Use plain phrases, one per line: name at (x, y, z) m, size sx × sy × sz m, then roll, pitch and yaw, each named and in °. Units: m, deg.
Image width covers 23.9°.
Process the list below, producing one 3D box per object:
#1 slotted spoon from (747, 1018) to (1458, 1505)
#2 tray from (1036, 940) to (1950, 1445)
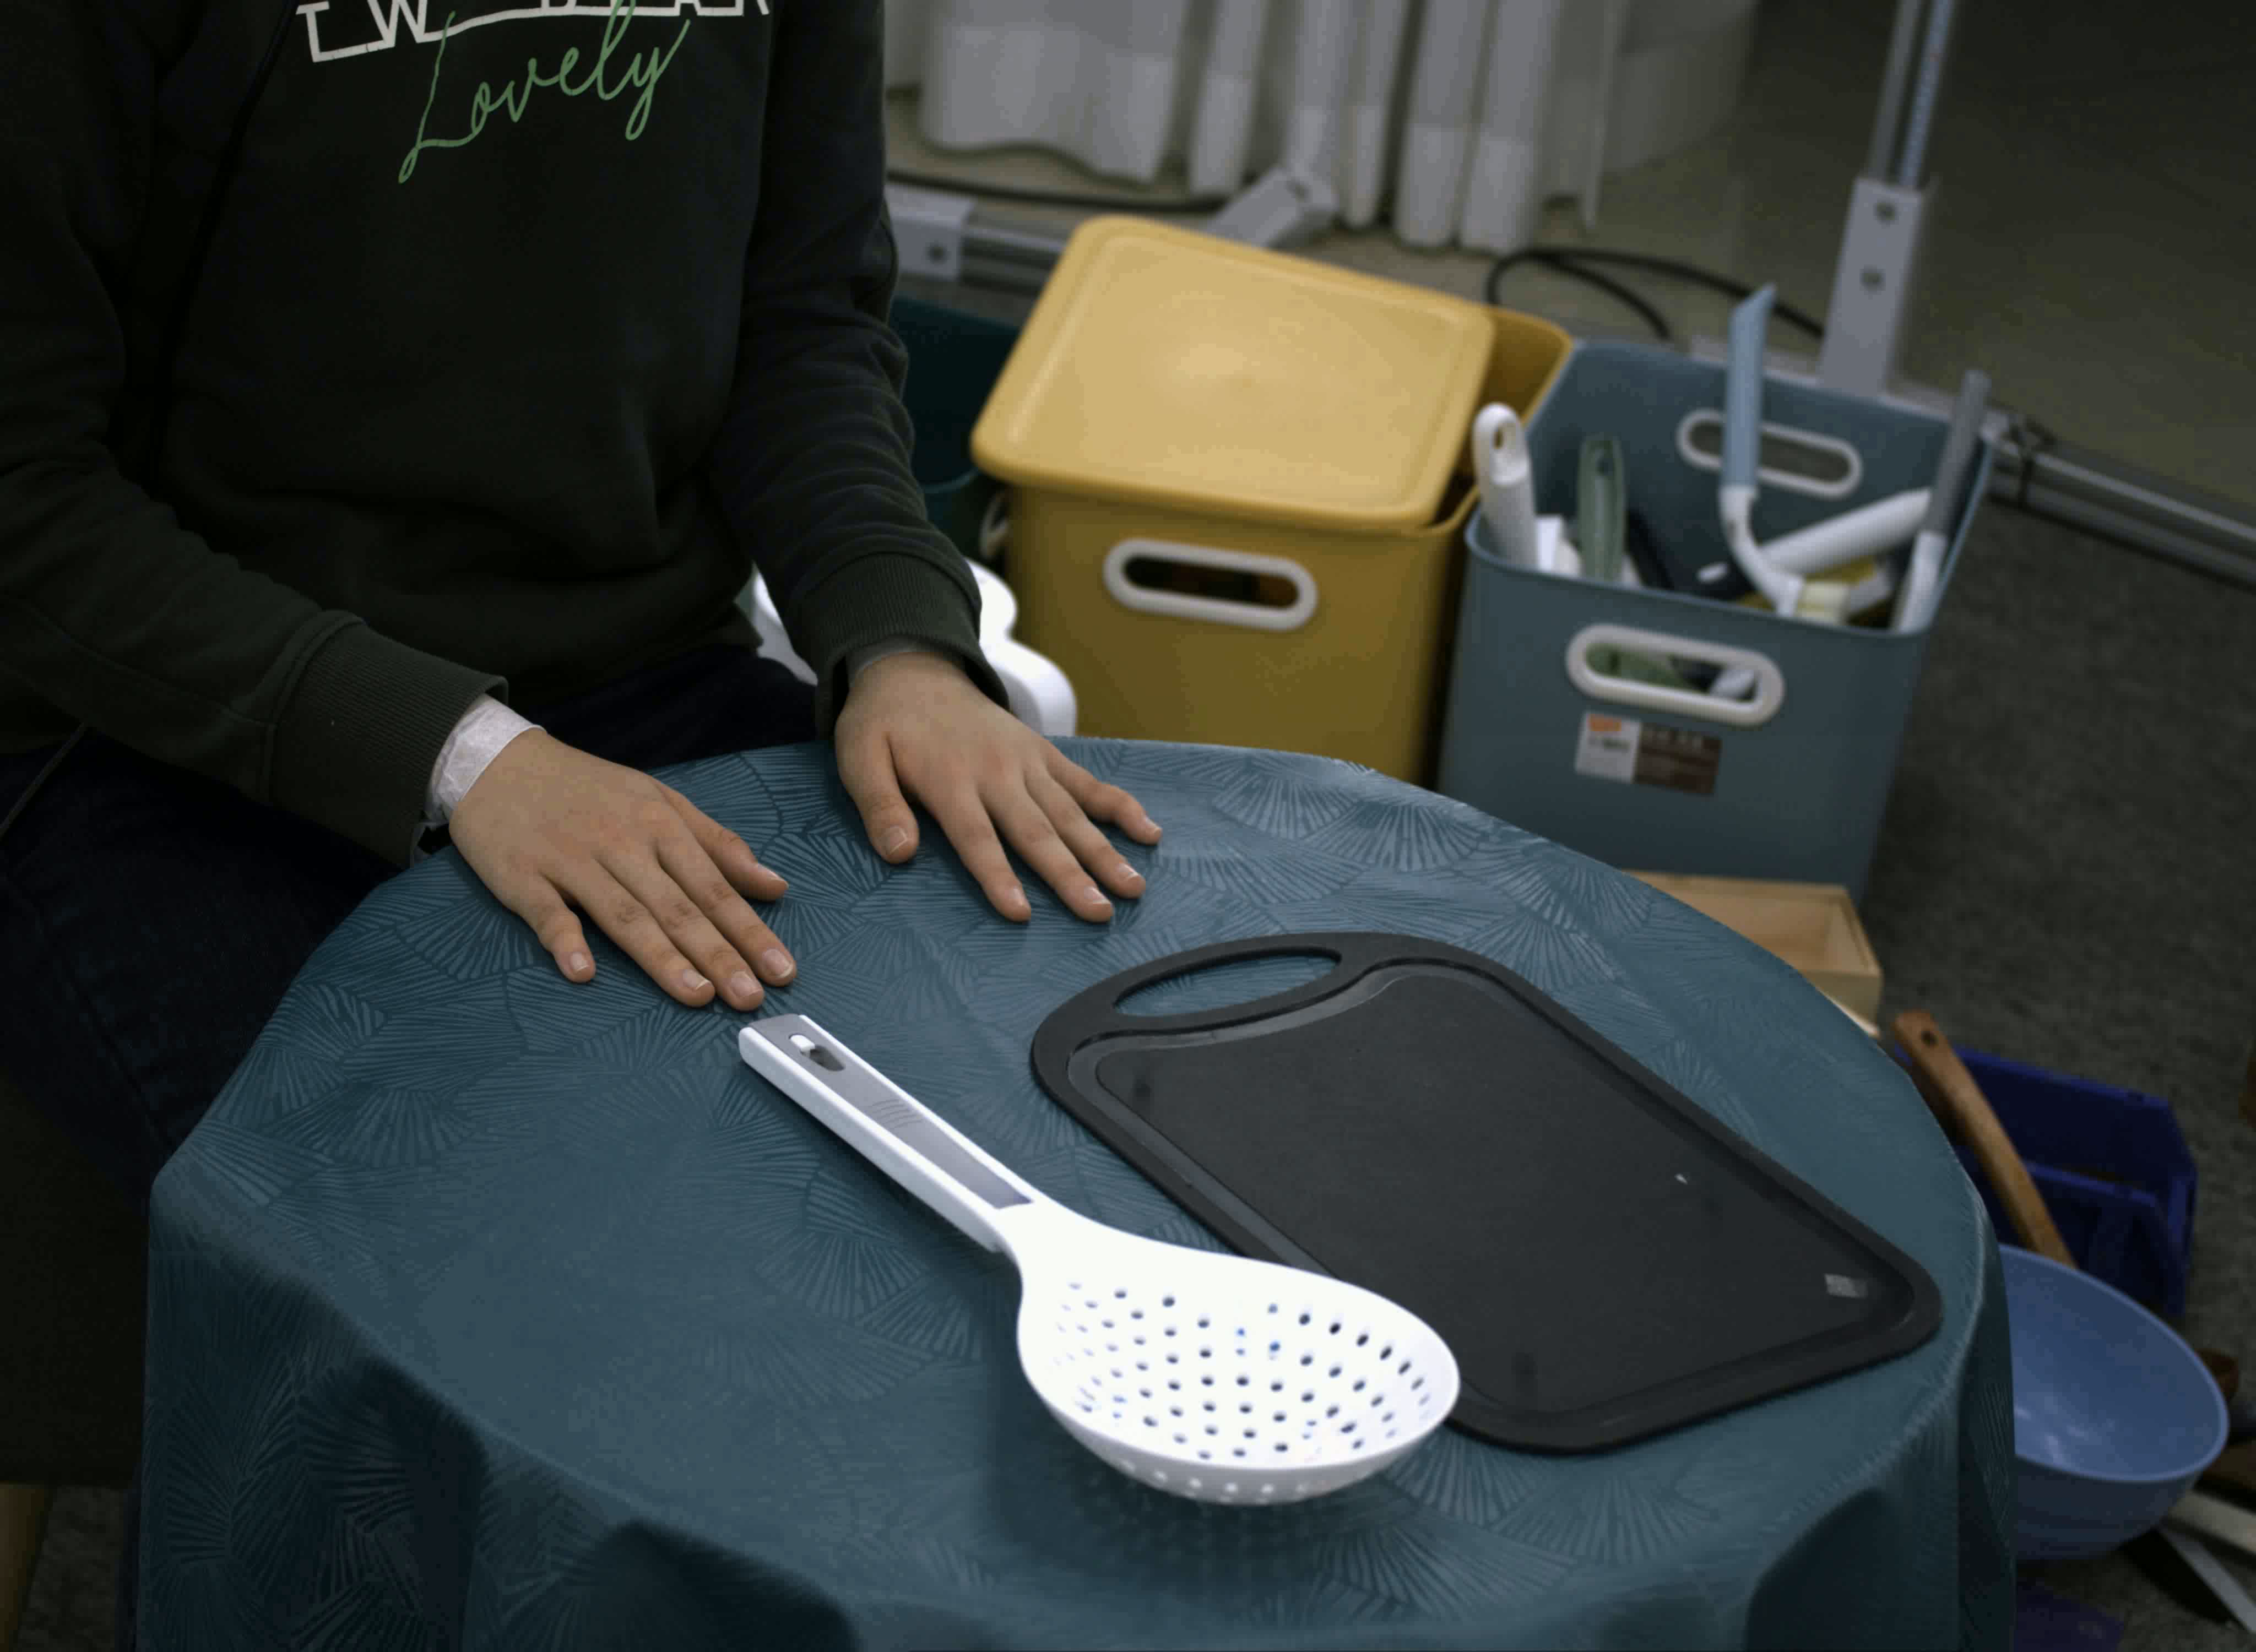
slotted spoon at (-0.027, 0.134, 1.722) m, size 0.135 × 0.045 × 0.353 m, roll -9°, pitch 30°, yaw -33°
tray at (0.116, 0.116, 1.834) m, size 0.210 × 0.010 × 0.328 m, roll -12°, pitch 32°, yaw -33°
